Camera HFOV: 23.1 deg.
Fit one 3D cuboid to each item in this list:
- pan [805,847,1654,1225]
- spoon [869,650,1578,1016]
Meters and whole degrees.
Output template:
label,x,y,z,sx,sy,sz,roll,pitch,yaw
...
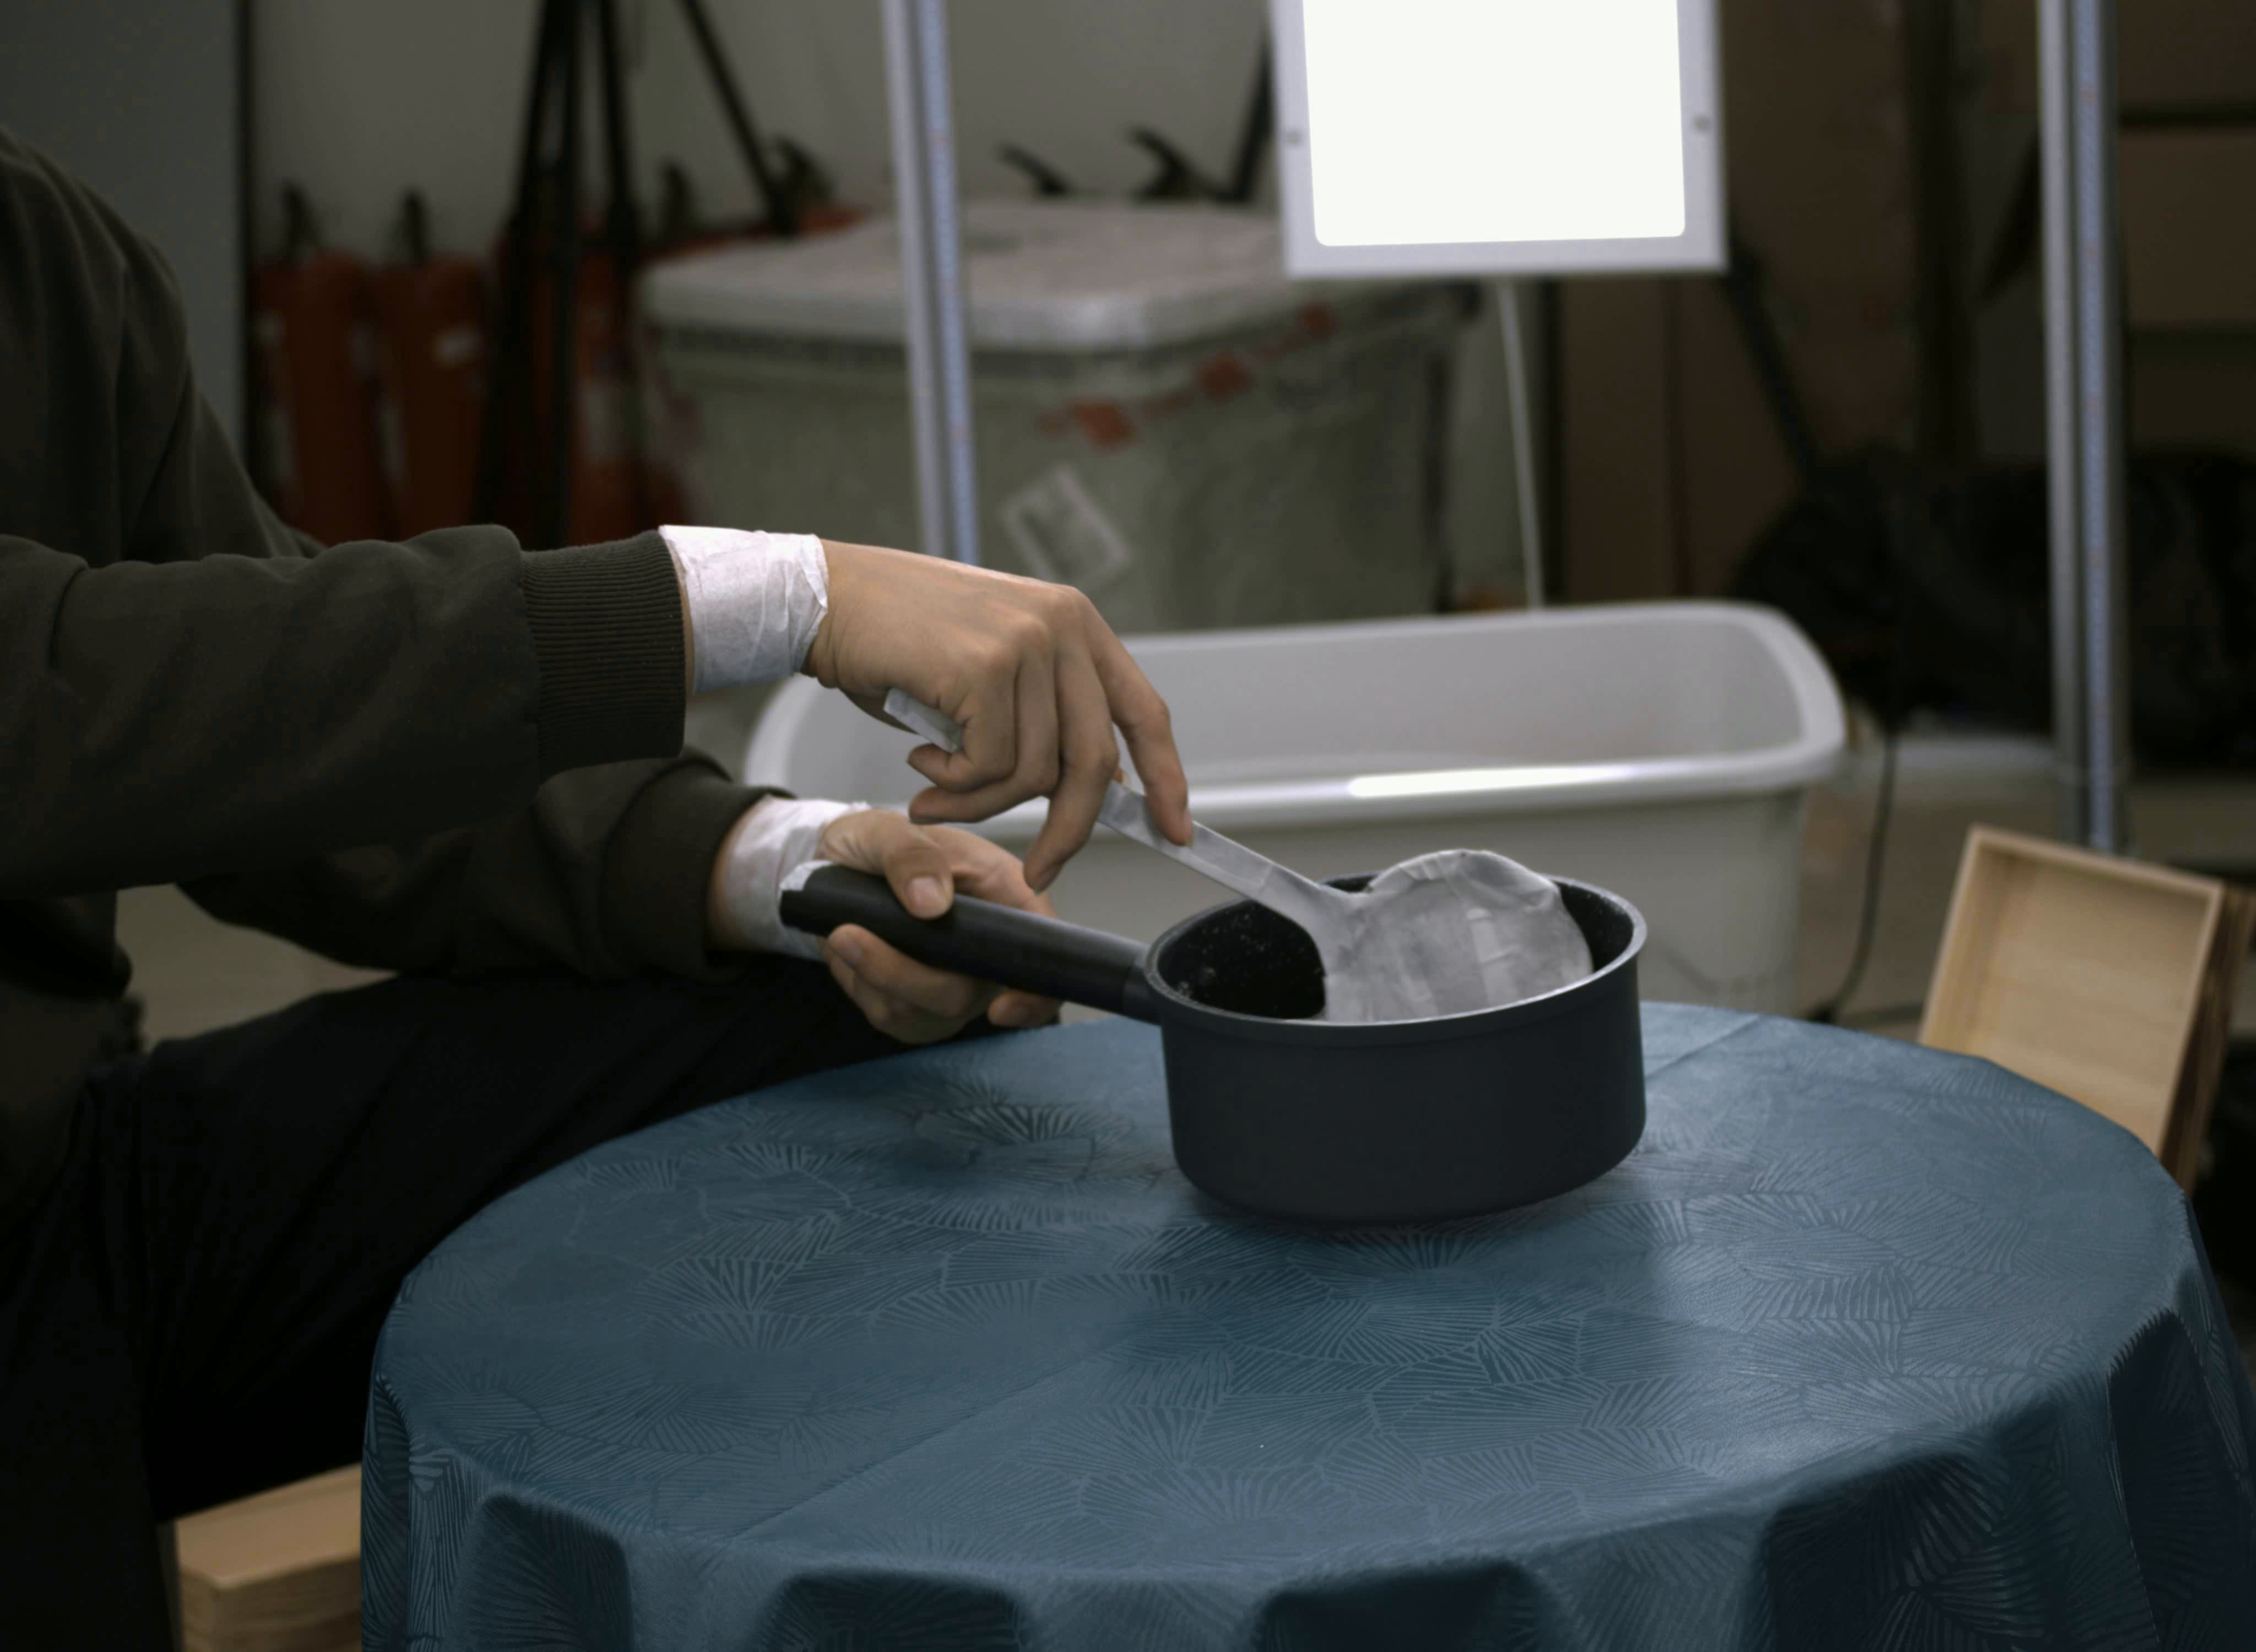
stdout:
label,x,y,z,sx,sy,sz,roll,pitch,yaw
pan,0.029,0.065,1.923,0.335,0.087,0.168,6,19,33
spoon,0.036,0.003,1.868,0.273,0.100,0.060,29,-7,-27
